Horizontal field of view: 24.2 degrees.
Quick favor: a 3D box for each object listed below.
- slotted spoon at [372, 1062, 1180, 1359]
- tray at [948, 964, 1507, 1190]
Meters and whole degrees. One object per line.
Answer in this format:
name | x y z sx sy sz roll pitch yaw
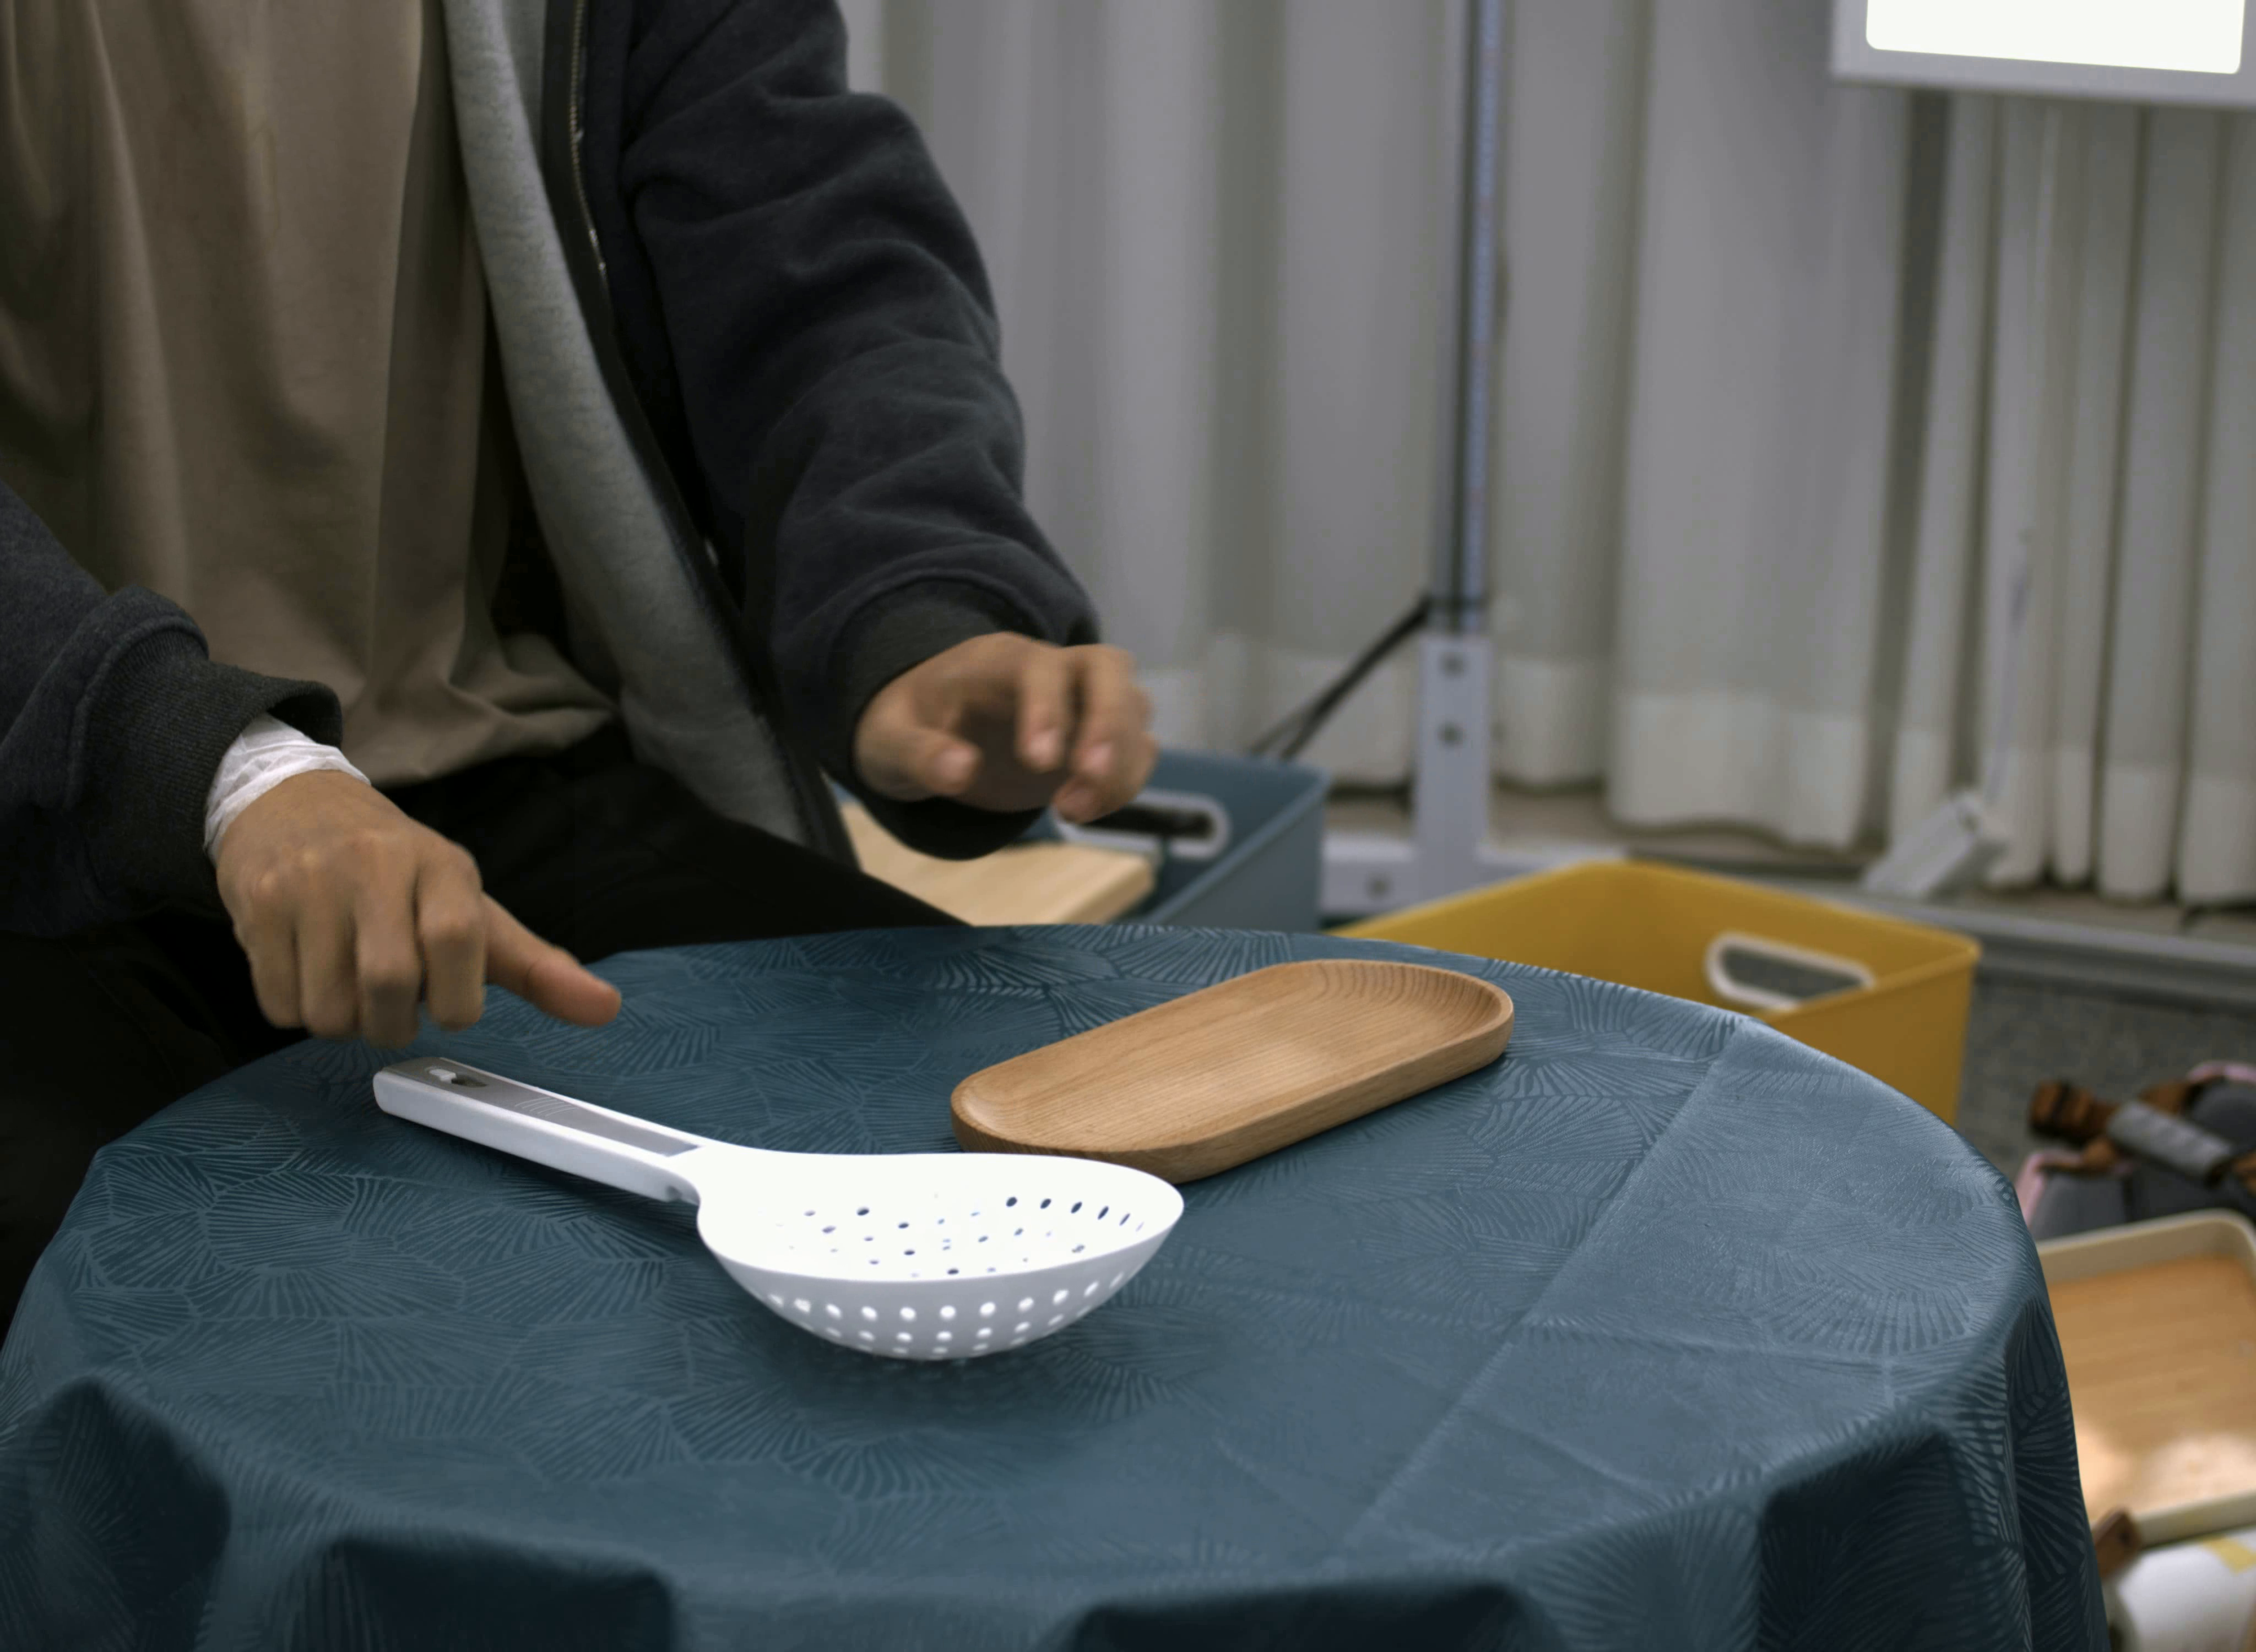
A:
slotted spoon | -0.122 0.104 1.563 0.137 0.046 0.345 -10 18 -40
tray | 0.035 0.081 1.708 0.100 0.020 0.232 11 20 37
